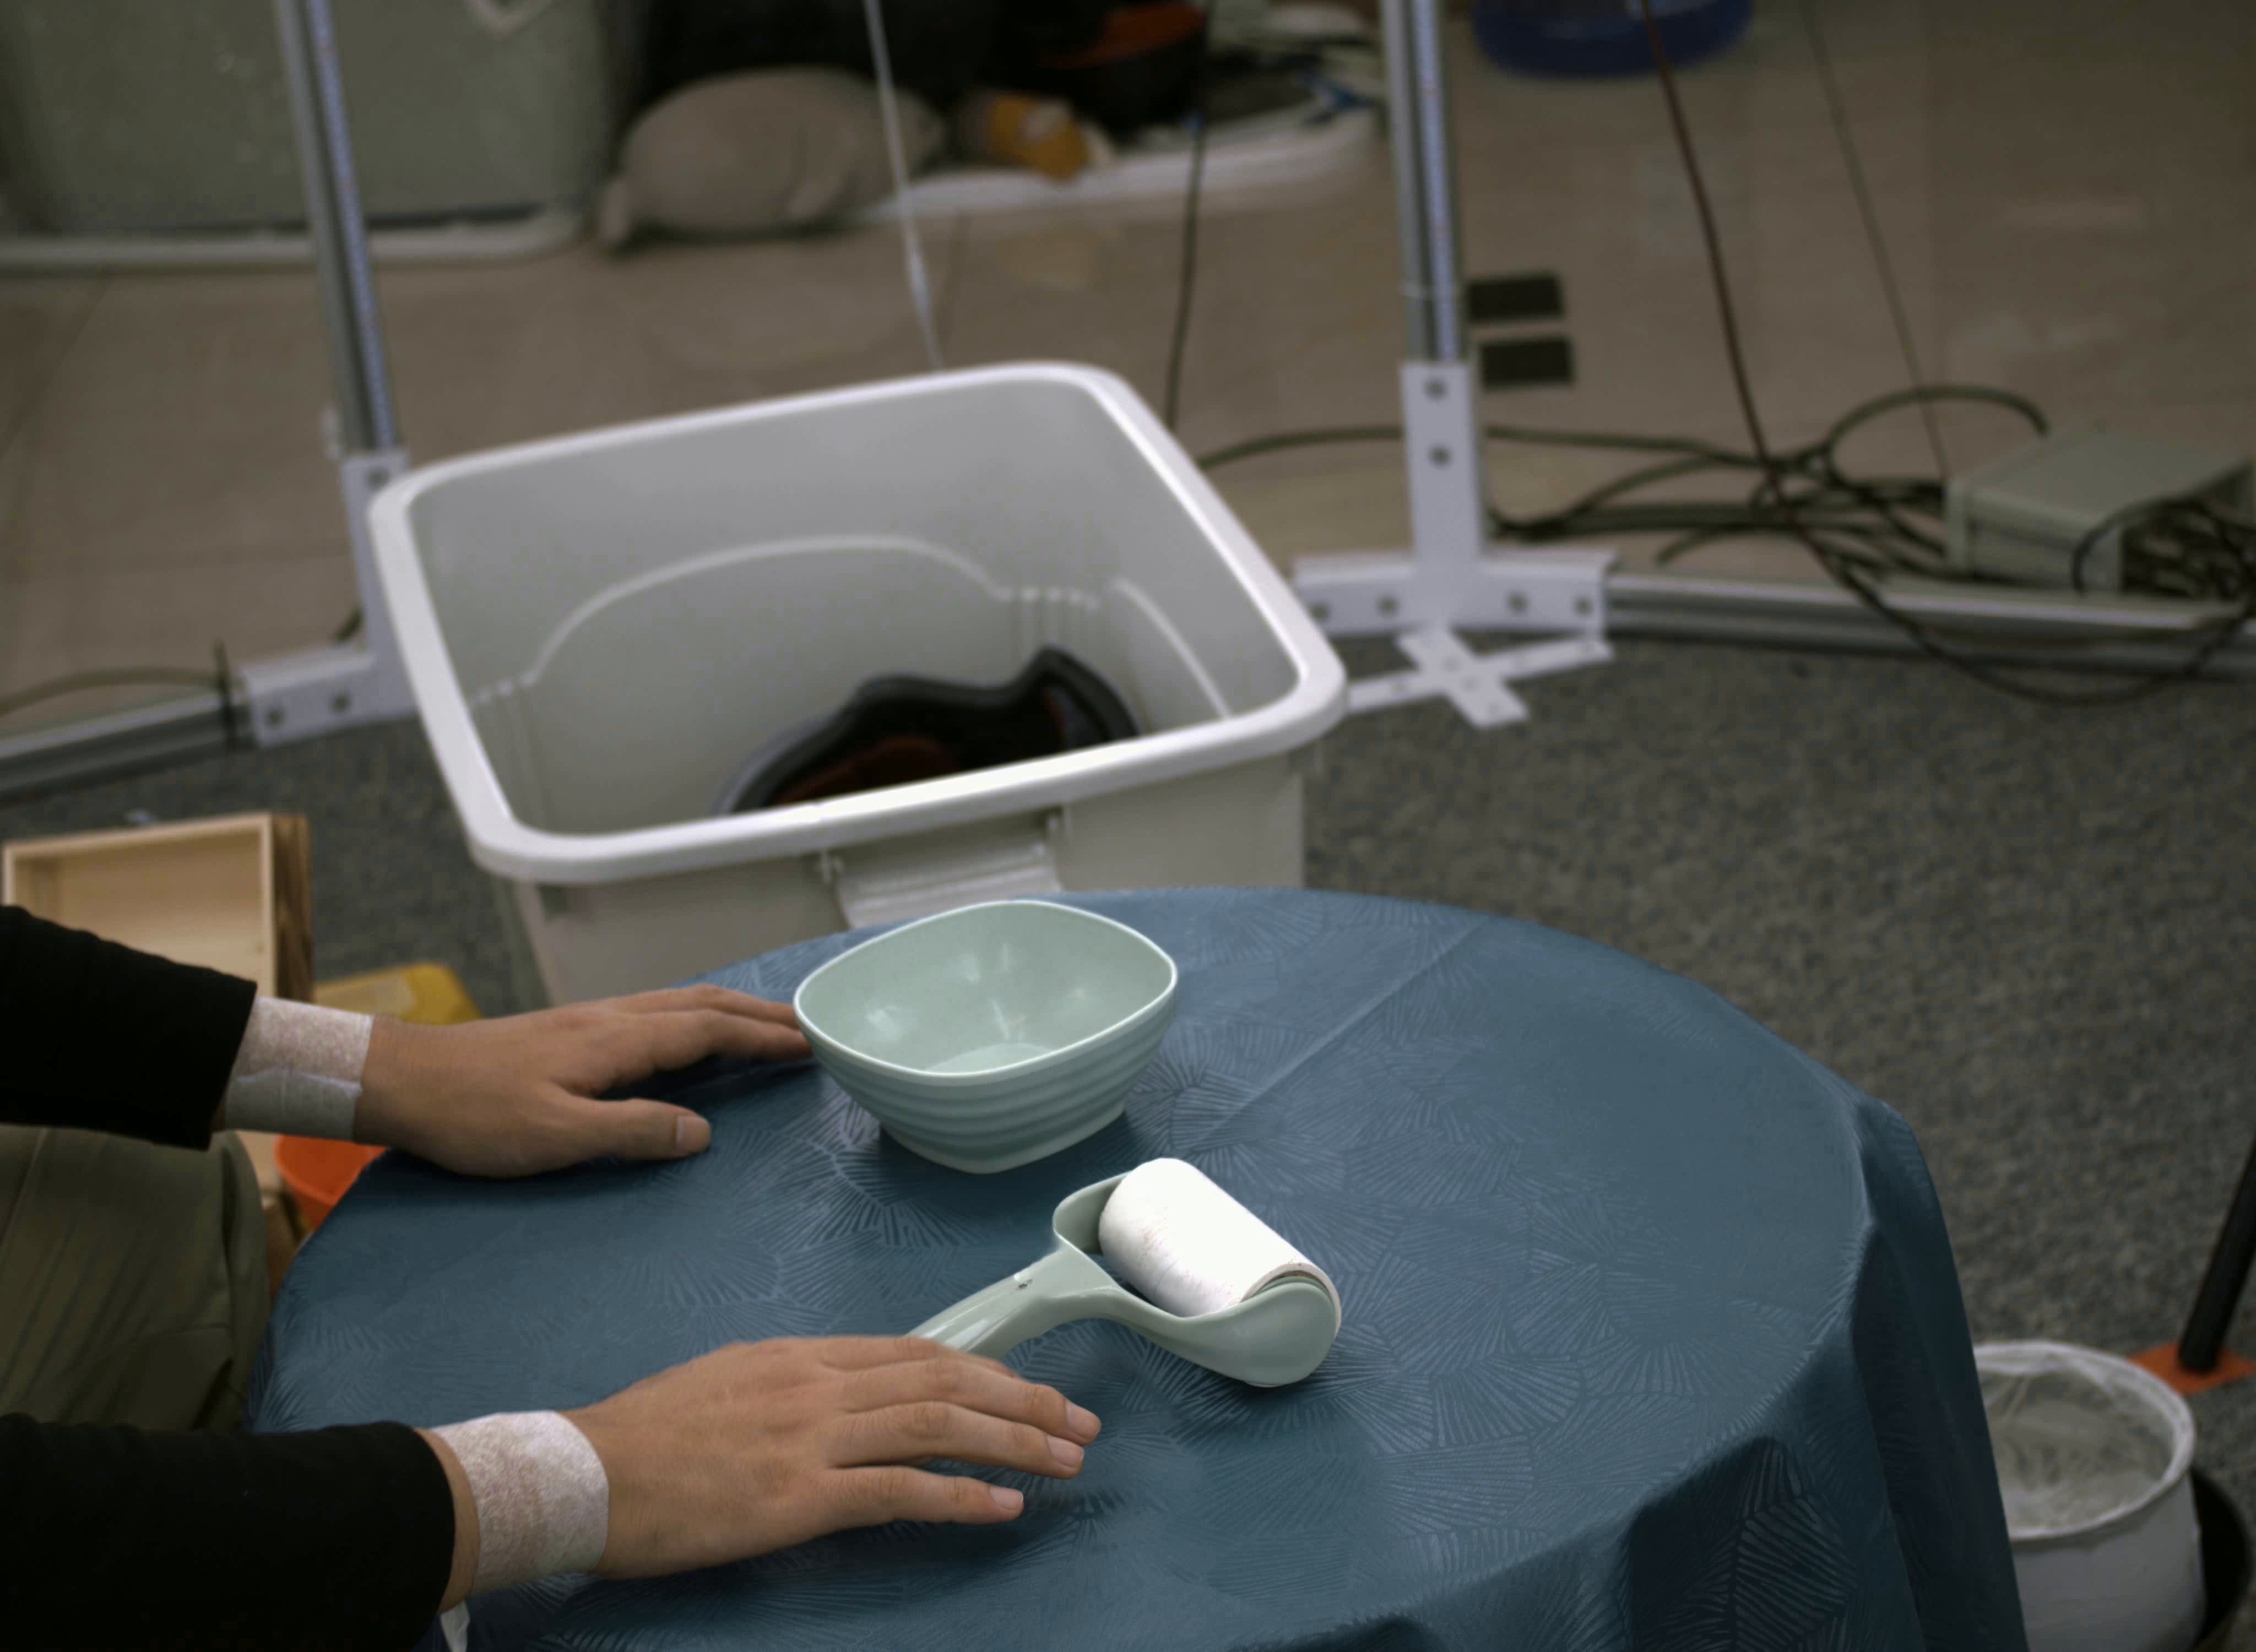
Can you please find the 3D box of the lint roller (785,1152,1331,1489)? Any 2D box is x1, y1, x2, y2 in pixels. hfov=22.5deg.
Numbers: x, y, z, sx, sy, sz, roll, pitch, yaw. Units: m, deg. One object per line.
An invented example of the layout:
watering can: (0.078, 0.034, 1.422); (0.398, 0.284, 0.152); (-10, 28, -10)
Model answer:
lint roller: (-0.036, 0.179, 2.018); (0.196, 0.049, 0.115); (-19, 29, -22)

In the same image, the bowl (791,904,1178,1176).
bowl: (-0.054, 0.088, 2.203); (0.151, 0.059, 0.149); (-4, 25, 2)
